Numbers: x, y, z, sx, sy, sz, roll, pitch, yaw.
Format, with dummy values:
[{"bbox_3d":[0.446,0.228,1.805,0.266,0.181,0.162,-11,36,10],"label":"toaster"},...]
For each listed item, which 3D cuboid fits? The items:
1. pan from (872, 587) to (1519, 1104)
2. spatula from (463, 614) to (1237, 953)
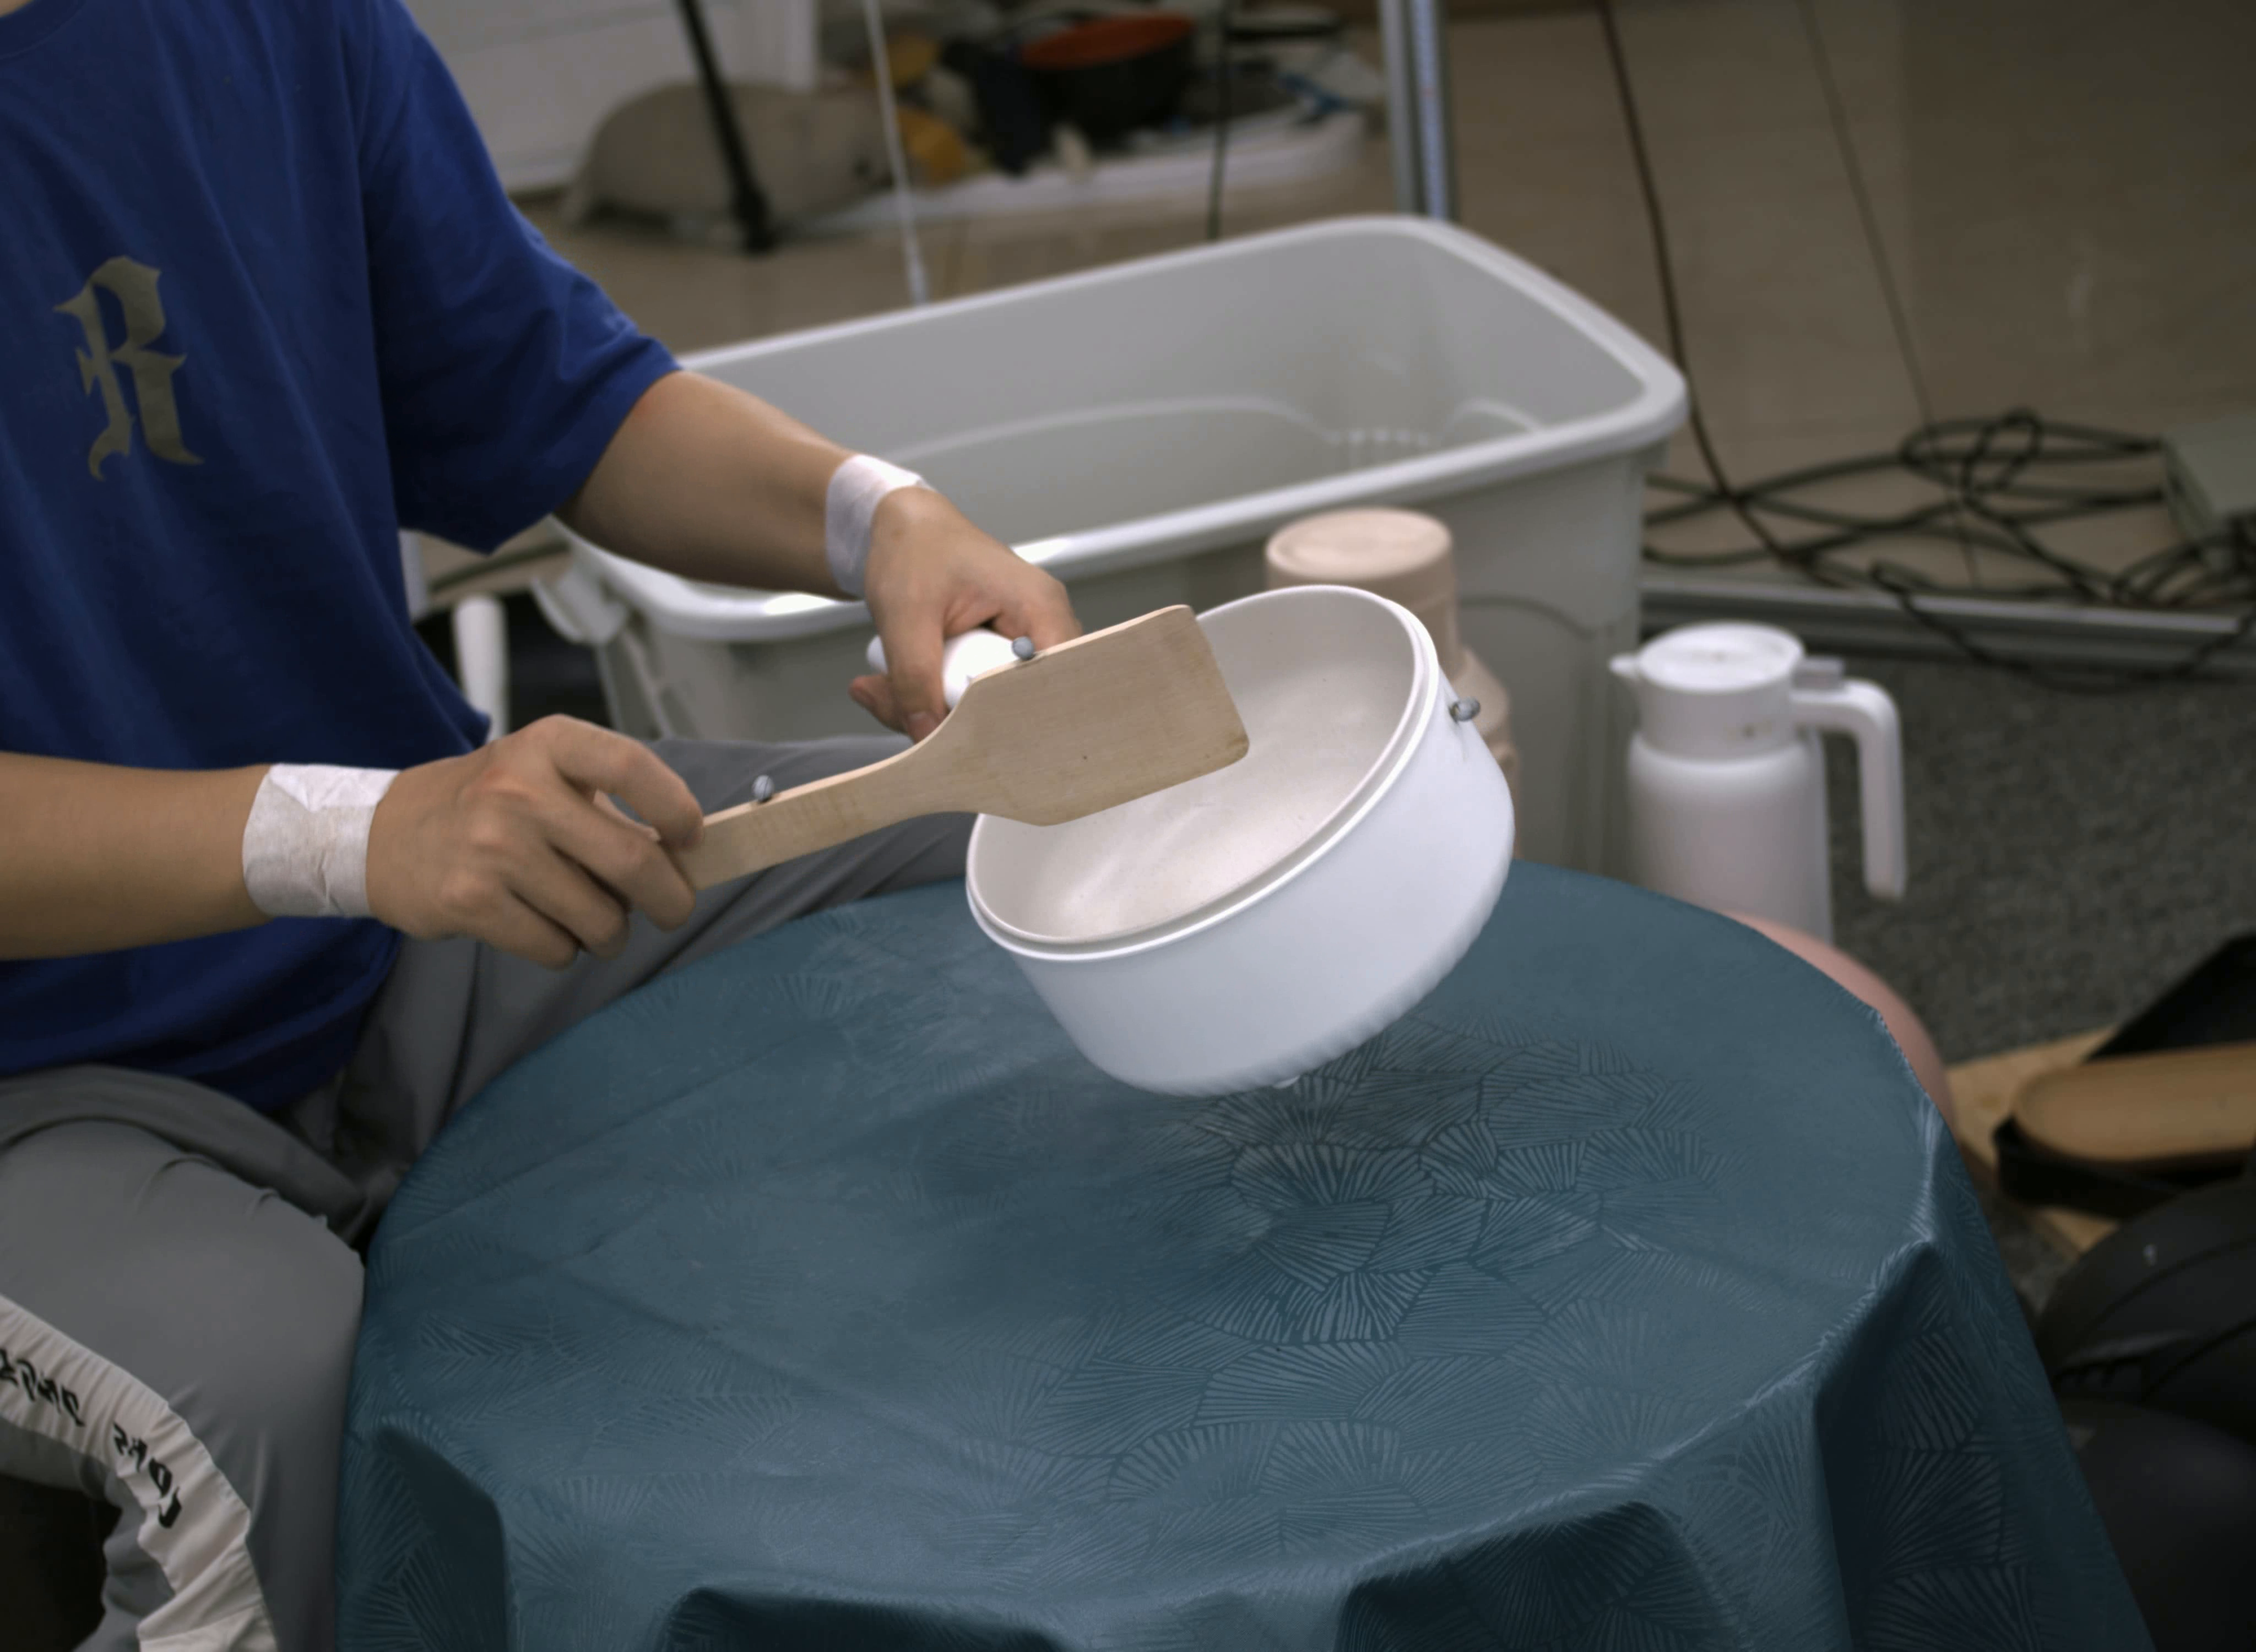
[{"bbox_3d":[0.012,-0.007,2.213,0.200,0.103,0.351,-44,32,-12],"label":"pan"},{"bbox_3d":[-0.107,-0.007,2.058,0.293,0.073,0.010,-18,35,11],"label":"spatula"}]
